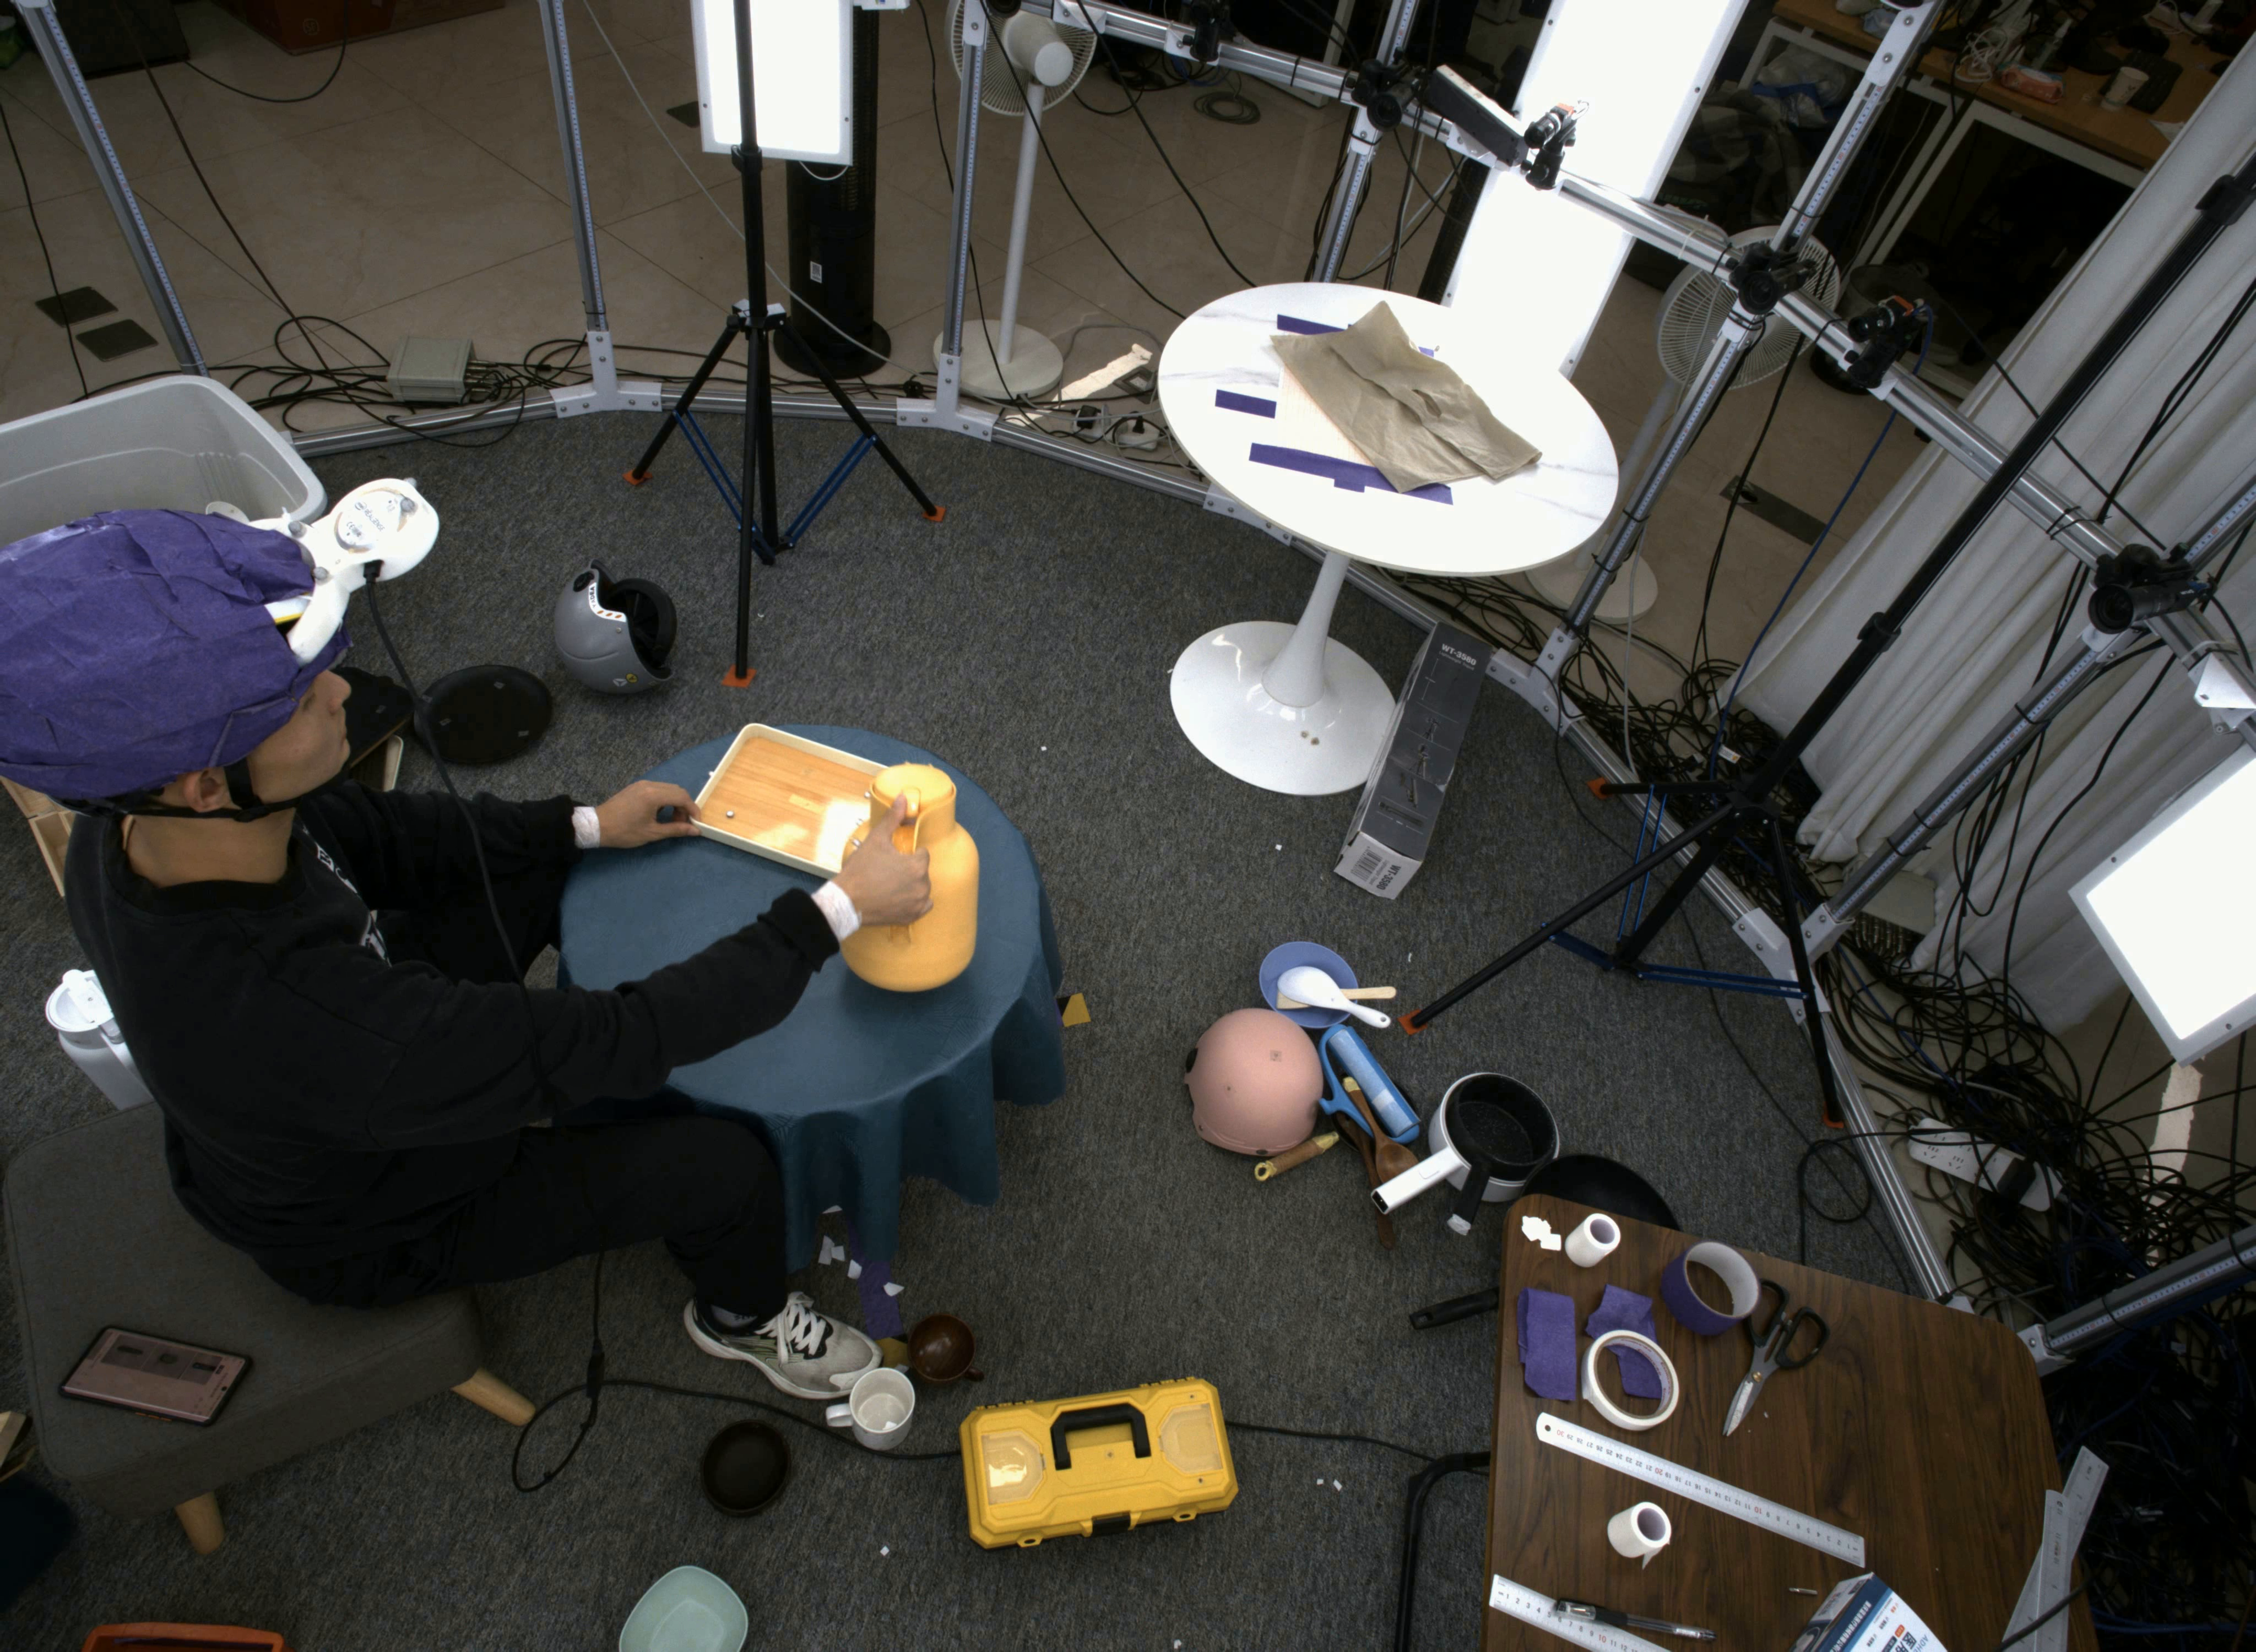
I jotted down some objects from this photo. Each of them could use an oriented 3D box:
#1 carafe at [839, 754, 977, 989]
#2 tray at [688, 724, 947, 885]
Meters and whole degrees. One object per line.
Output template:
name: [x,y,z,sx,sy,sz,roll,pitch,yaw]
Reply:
carafe: [-0.258,0.057,1.506,0.162,0.268,0.198,2,29,-3]
tray: [-0.409,-0.023,1.723,0.298,0.028,0.189,19,50,-1]
